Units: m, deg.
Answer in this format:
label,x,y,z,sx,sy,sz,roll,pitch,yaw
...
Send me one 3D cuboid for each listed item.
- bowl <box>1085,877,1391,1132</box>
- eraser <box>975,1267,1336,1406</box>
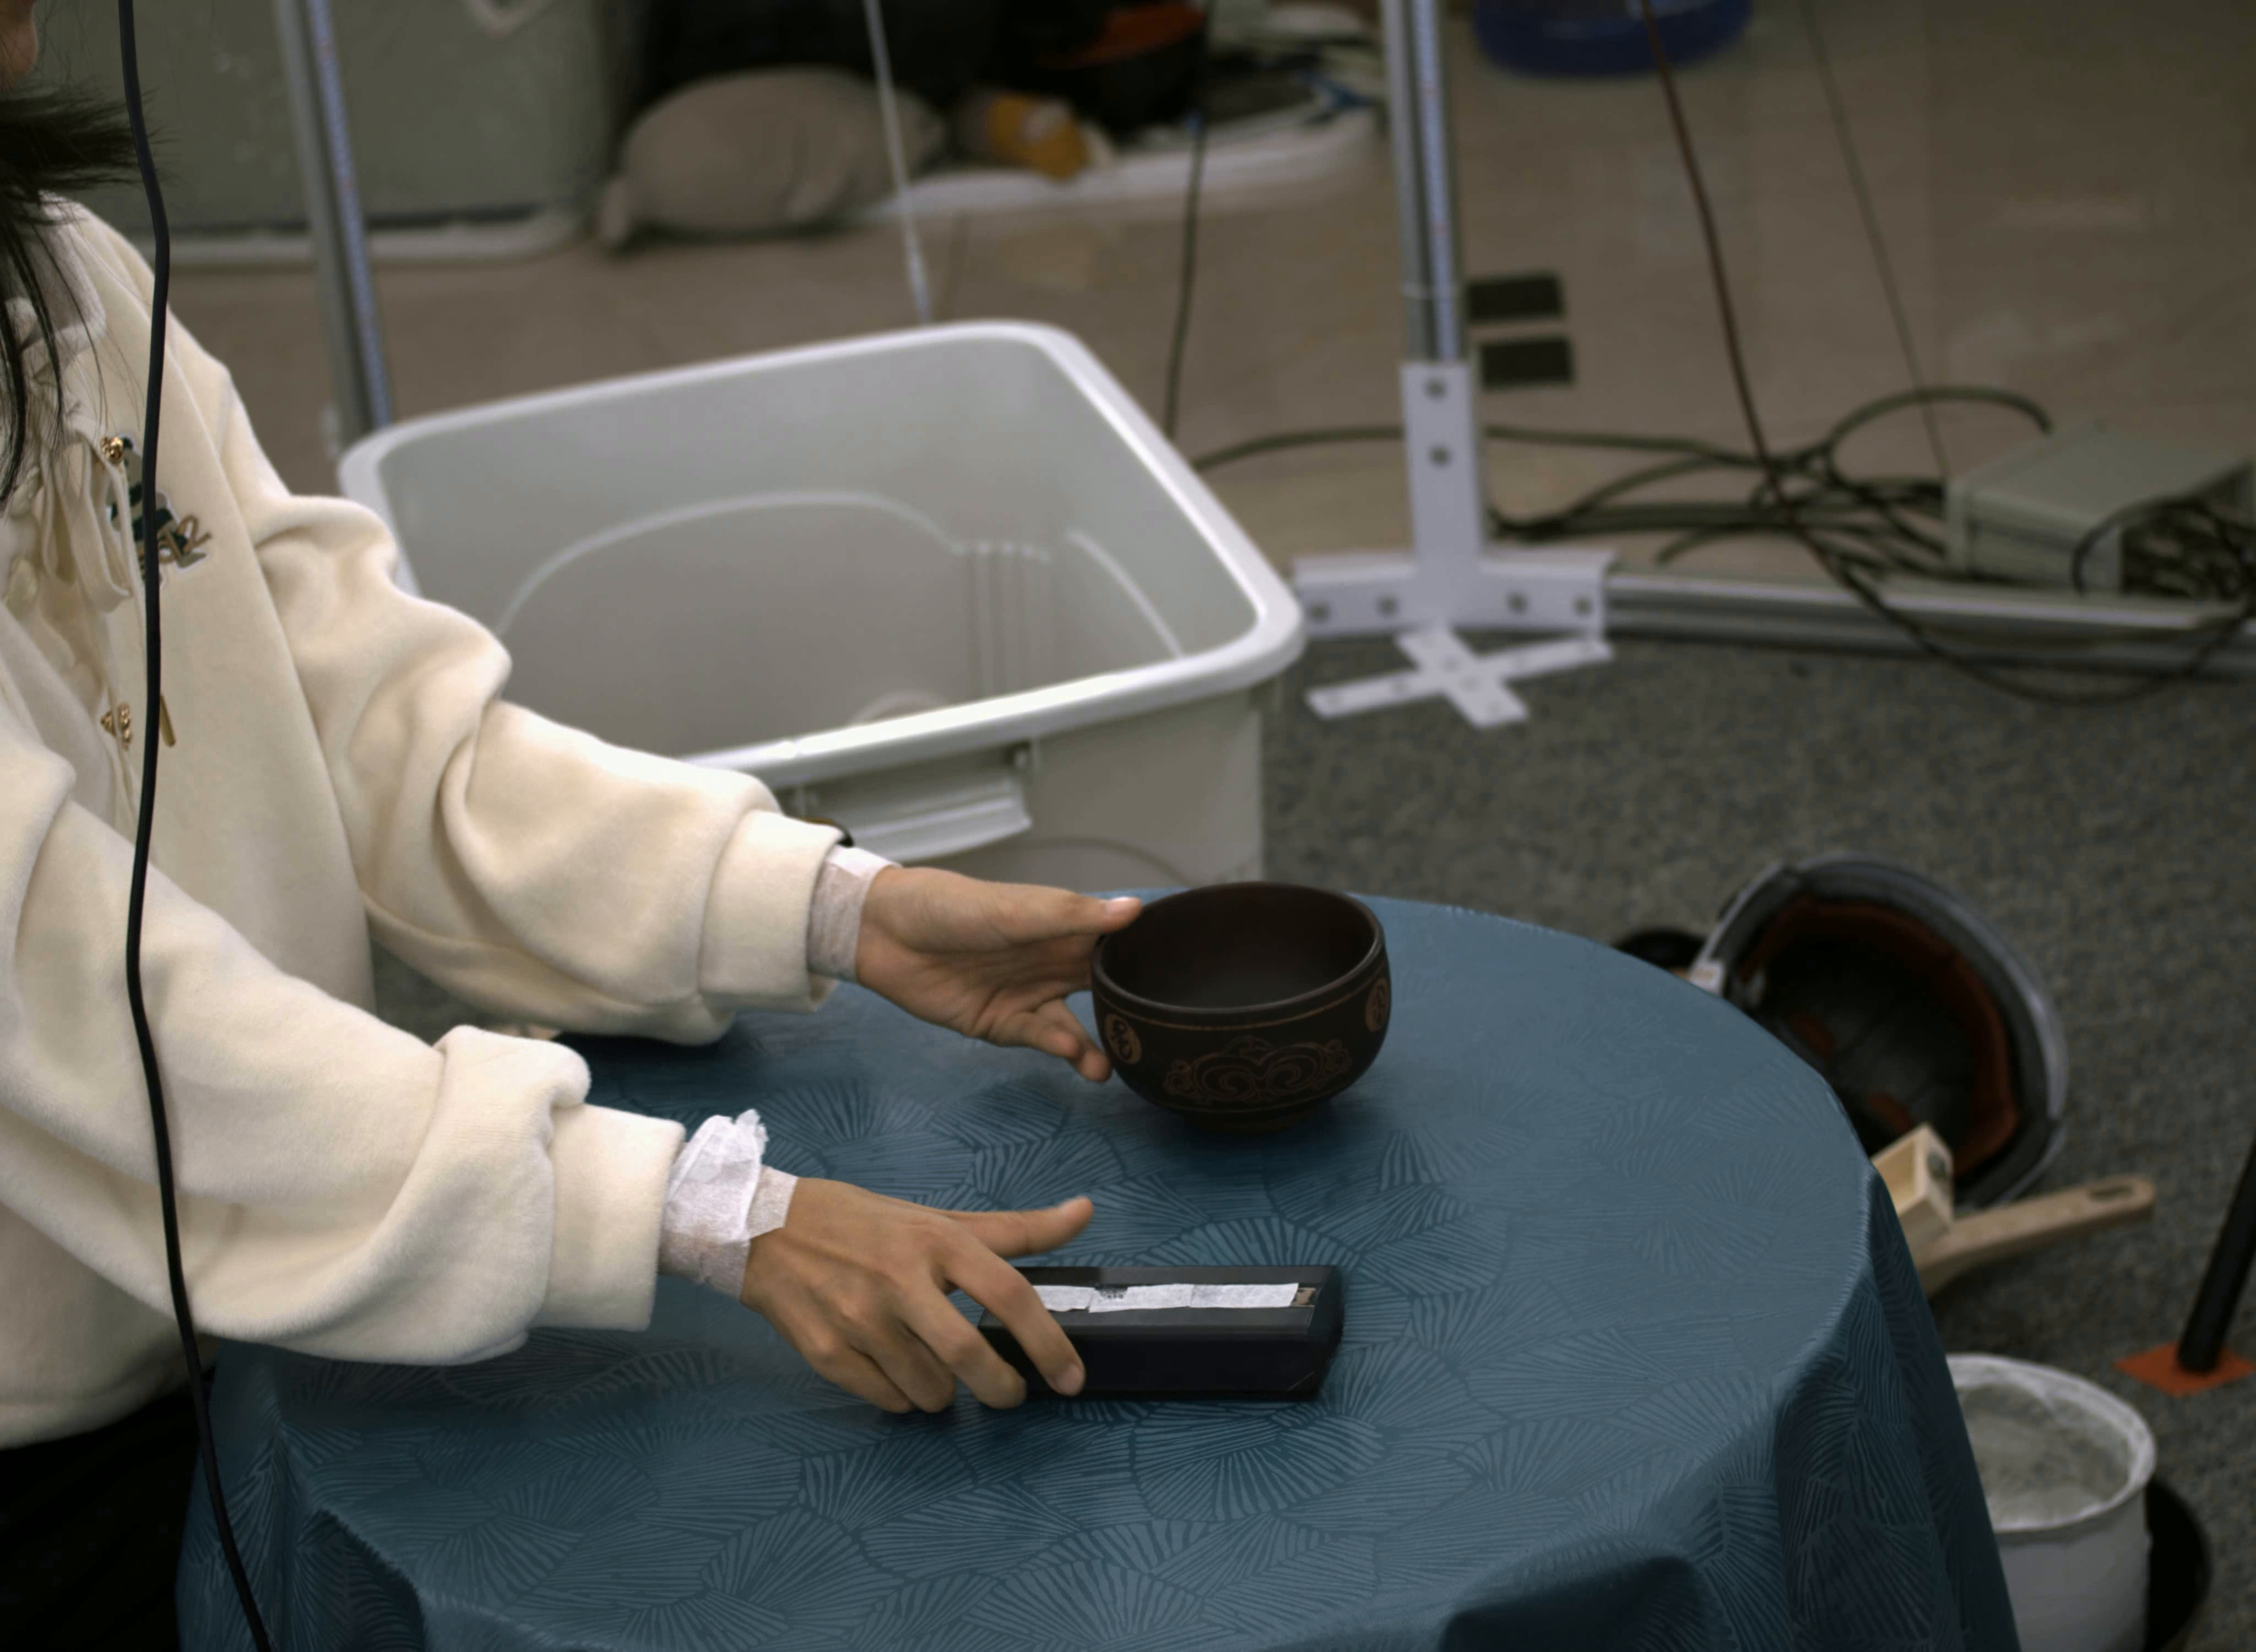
label,x,y,z,sx,sy,sz,roll,pitch,yaw
bowl,0.044,0.075,2.188,0.118,0.071,0.116,-6,25,3
eraser,0.011,0.182,2.022,0.125,0.031,0.053,-3,24,12
